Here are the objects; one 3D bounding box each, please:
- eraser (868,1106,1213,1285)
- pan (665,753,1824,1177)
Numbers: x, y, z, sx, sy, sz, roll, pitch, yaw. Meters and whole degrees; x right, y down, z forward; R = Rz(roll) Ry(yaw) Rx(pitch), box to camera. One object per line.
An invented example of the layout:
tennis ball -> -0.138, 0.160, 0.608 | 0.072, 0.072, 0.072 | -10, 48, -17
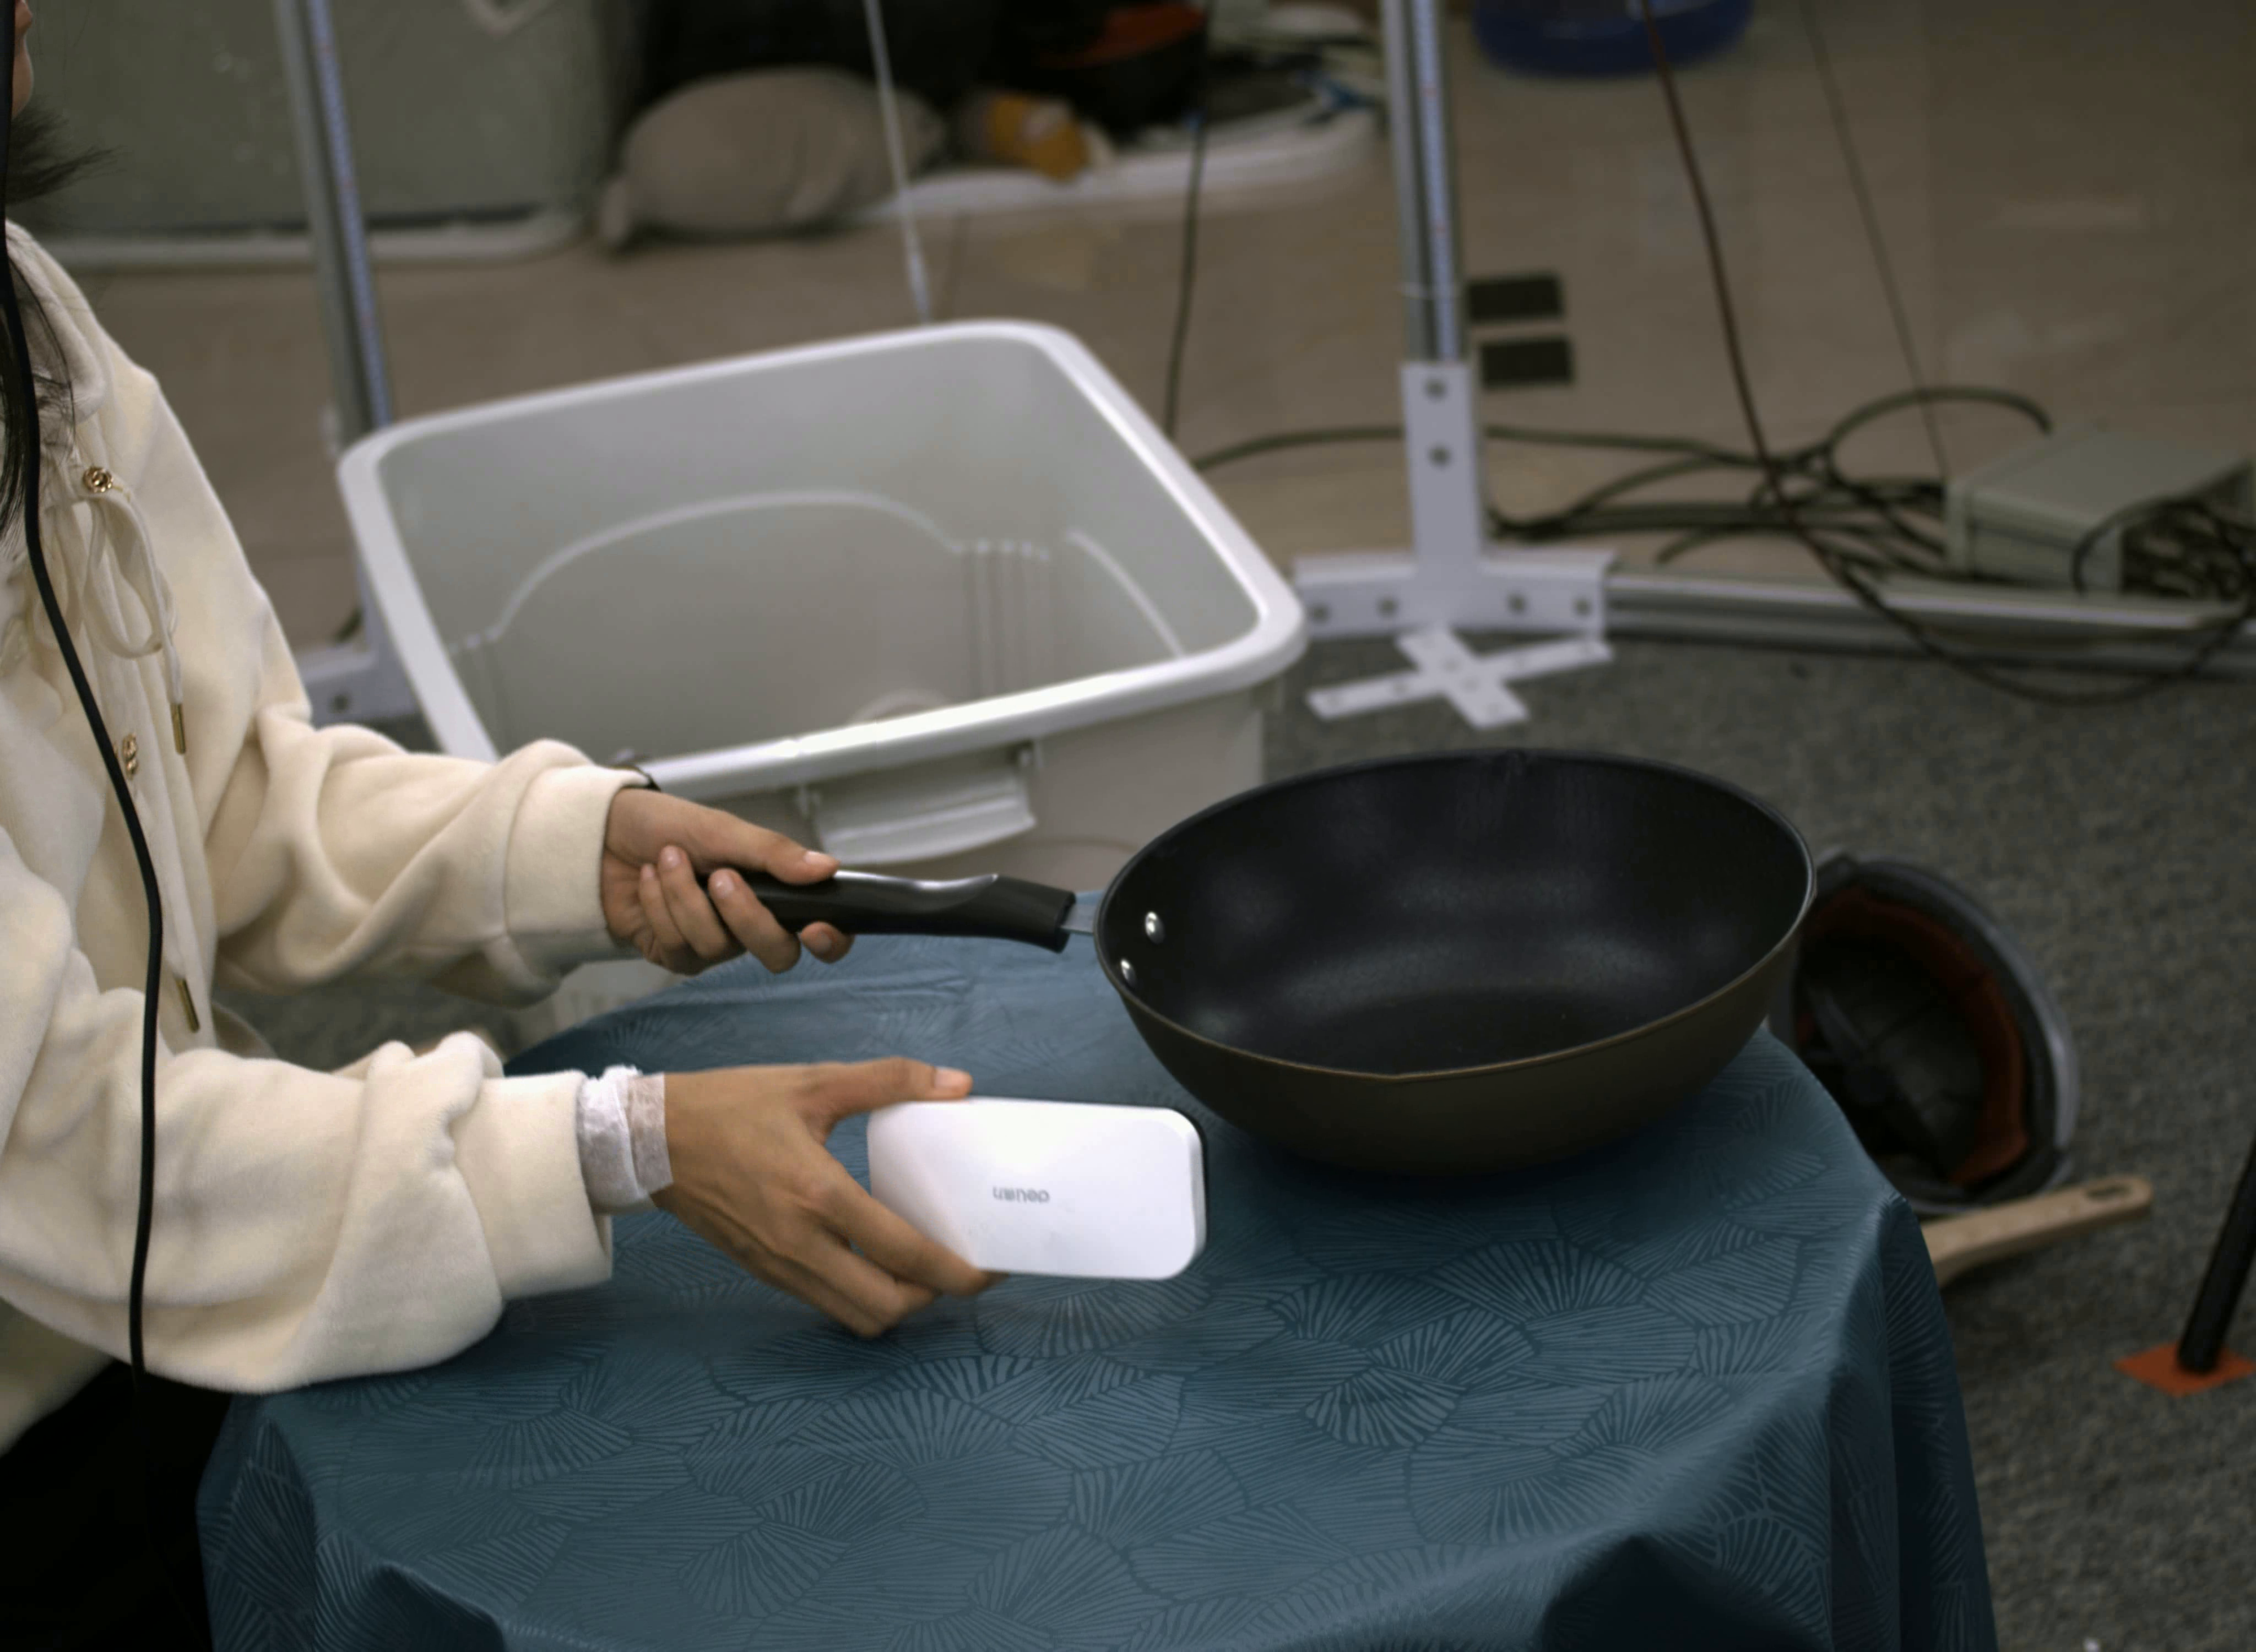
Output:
eraser -> -0.033, 0.131, 2.047 | 0.131, 0.064, 0.034 | 2, 8, 24
pan -> 0.042, 0.062, 2.205 | 0.462, 0.088, 0.284 | 0, 25, 16
